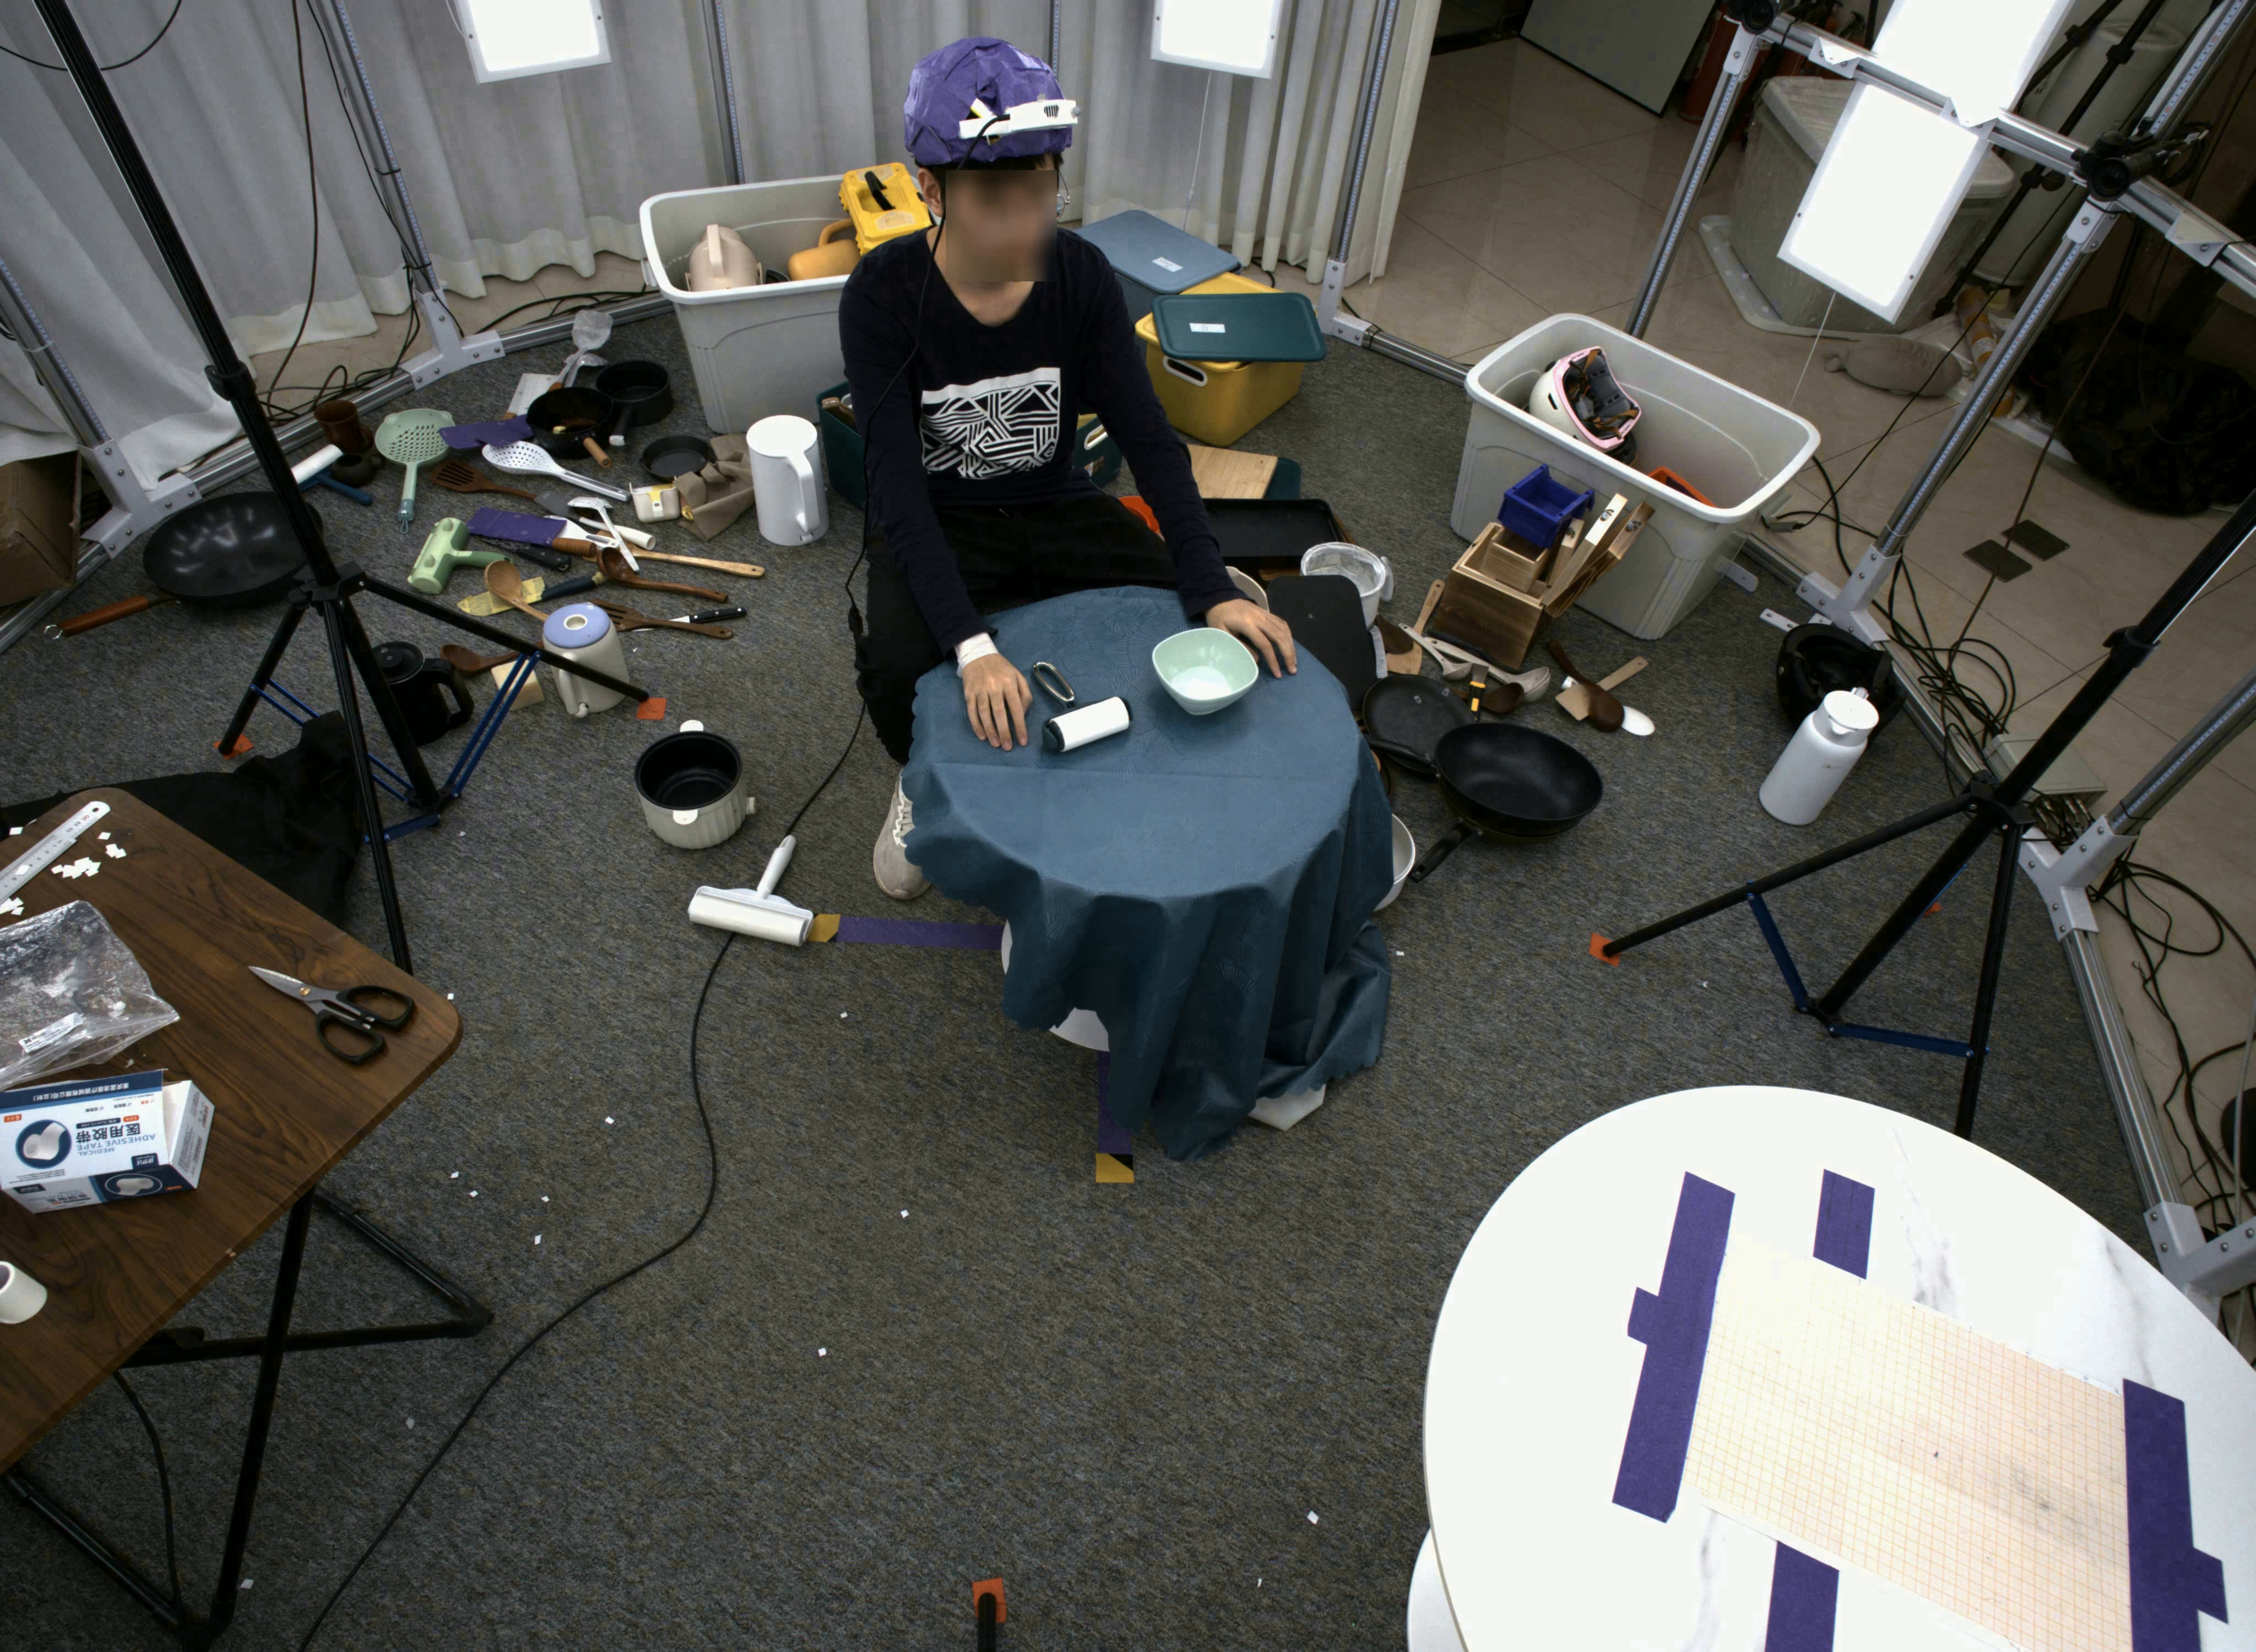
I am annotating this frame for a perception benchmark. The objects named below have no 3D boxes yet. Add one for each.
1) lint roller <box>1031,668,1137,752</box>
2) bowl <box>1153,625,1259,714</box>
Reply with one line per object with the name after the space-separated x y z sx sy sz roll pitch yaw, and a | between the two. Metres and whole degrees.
-0.087 -0.183 1.795 0.135 0.047 0.184 -22 51 -21 | lint roller
0.107 -0.213 1.822 0.151 0.057 0.155 2 52 -3 | bowl
